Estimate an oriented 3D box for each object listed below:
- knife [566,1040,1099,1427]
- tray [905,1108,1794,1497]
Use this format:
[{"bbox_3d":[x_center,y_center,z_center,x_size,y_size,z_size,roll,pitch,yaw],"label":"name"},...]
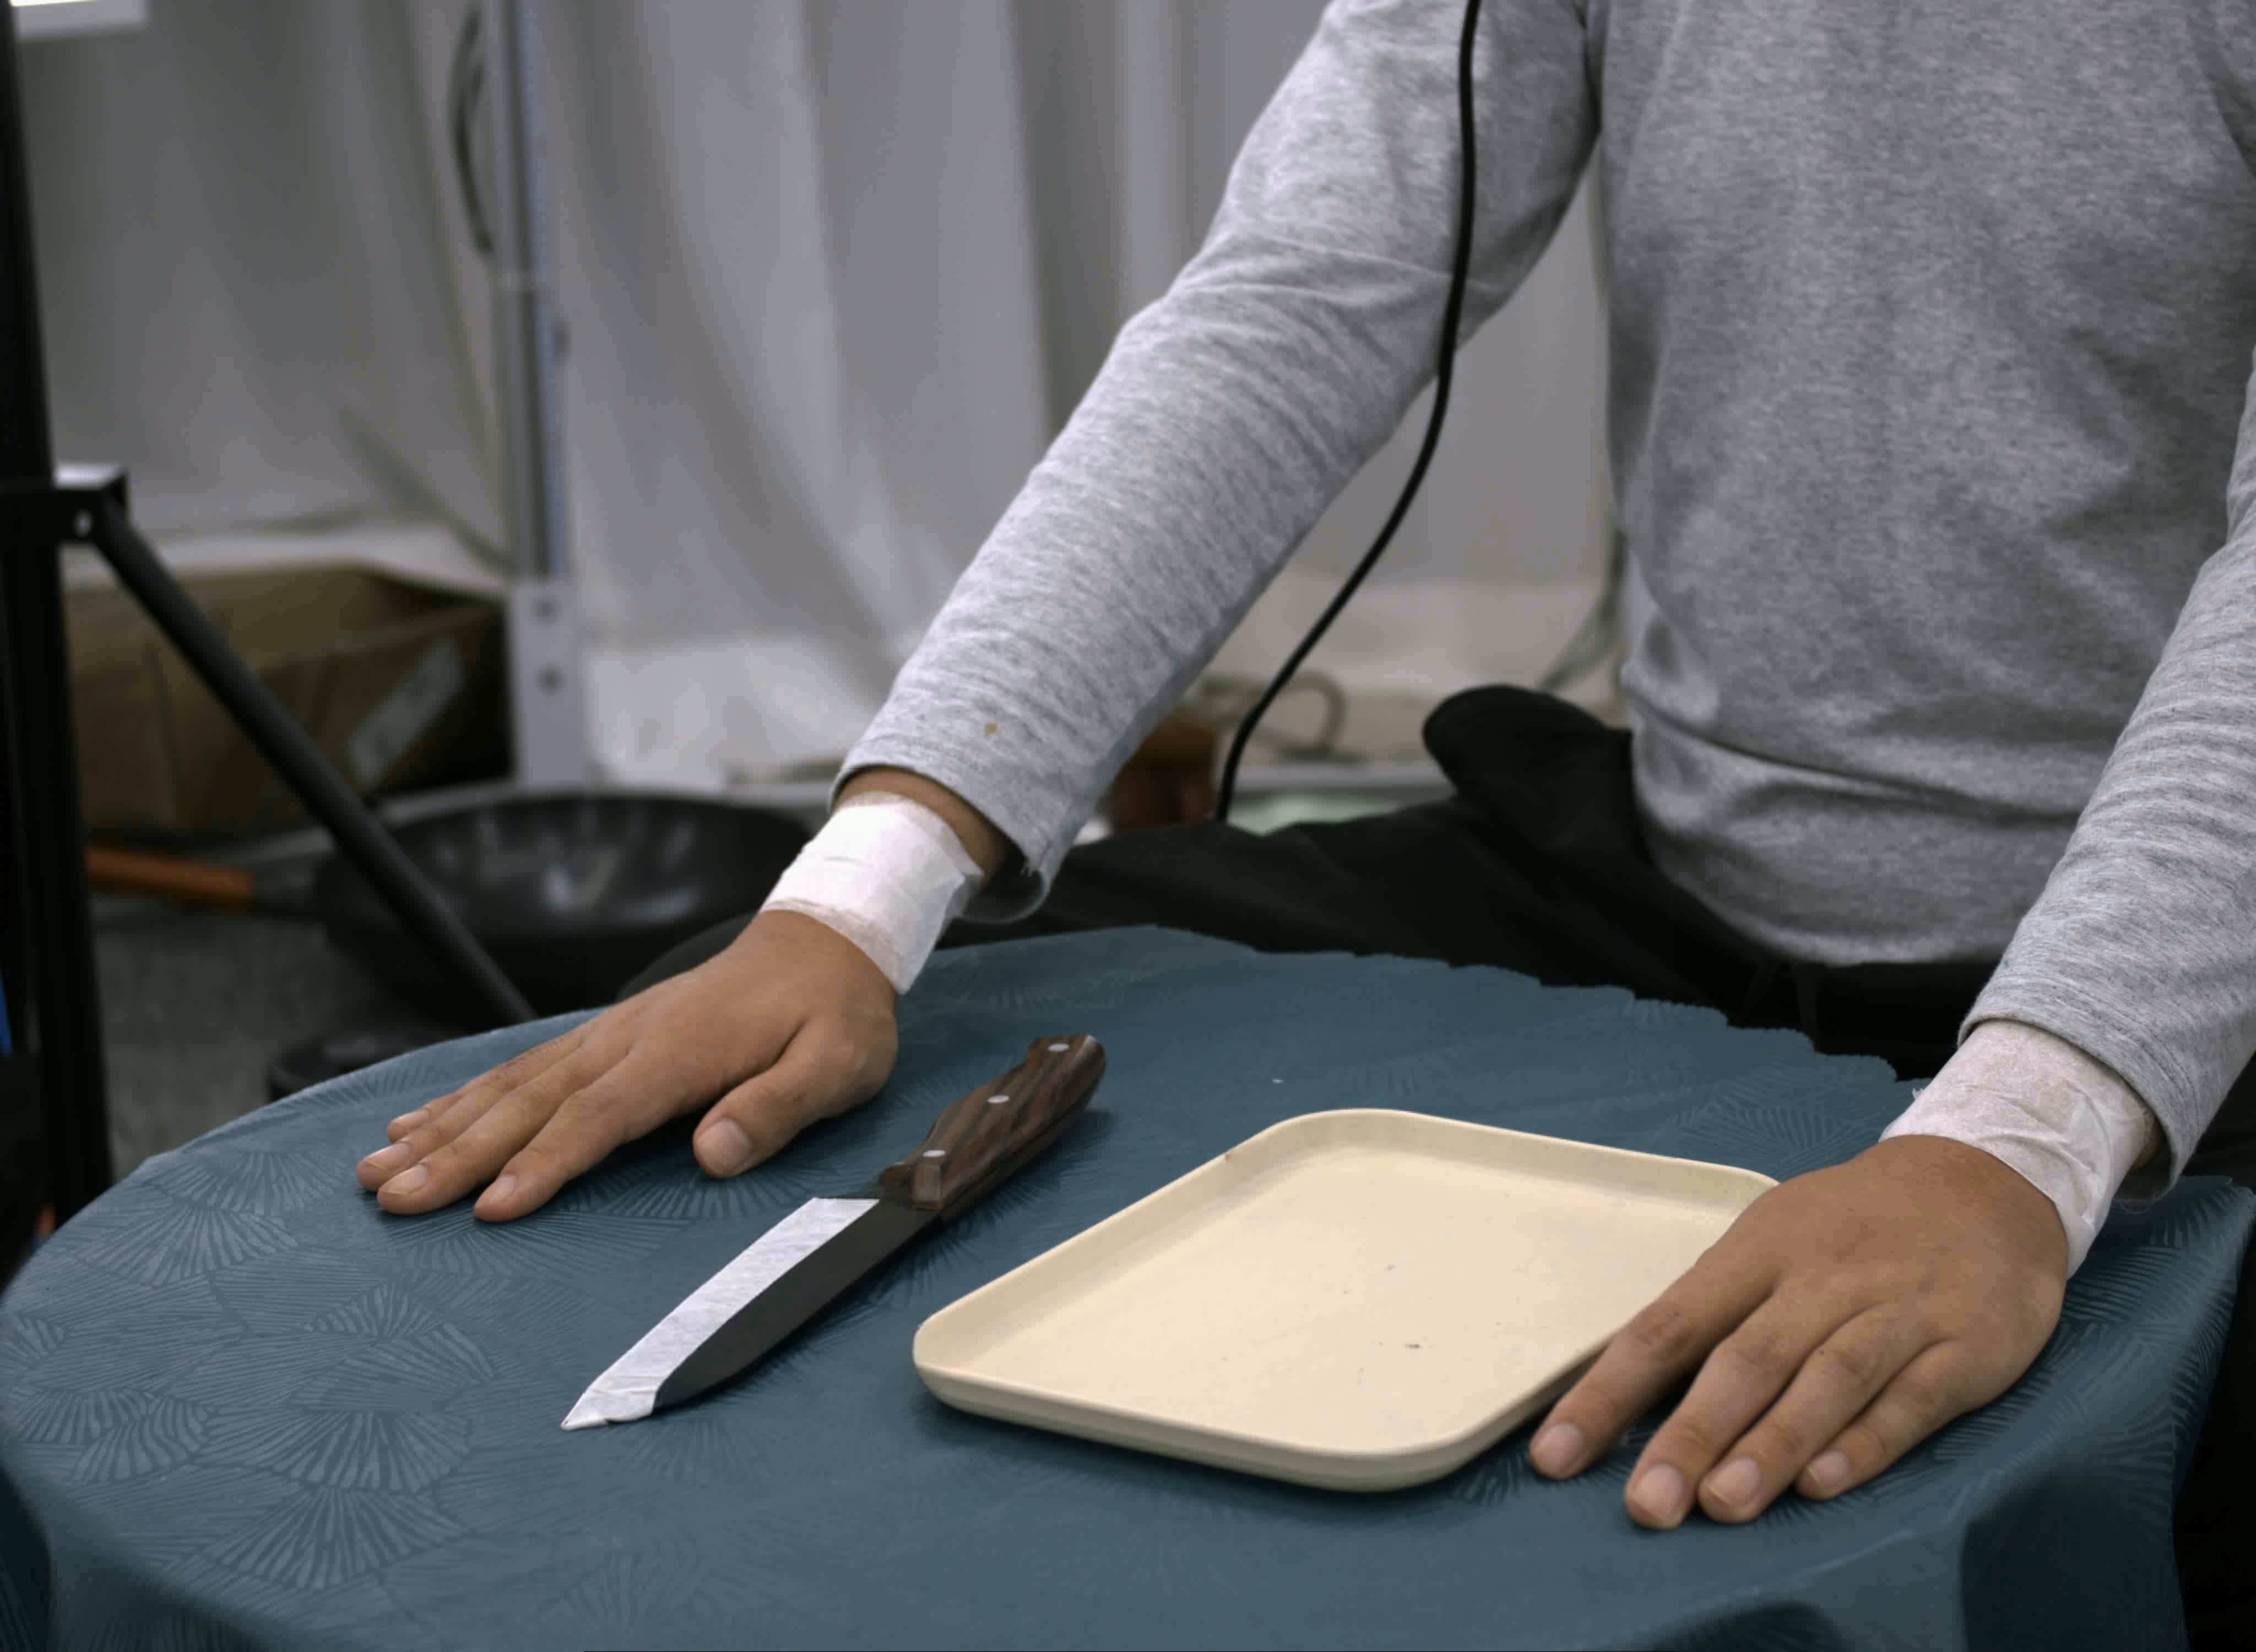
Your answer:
[{"bbox_3d":[-0.079,0.116,1.519,0.051,0.020,0.284,0,18,28],"label":"knife"},{"bbox_3d":[0.064,0.128,1.449,0.174,0.017,0.235,9,19,33],"label":"tray"}]
